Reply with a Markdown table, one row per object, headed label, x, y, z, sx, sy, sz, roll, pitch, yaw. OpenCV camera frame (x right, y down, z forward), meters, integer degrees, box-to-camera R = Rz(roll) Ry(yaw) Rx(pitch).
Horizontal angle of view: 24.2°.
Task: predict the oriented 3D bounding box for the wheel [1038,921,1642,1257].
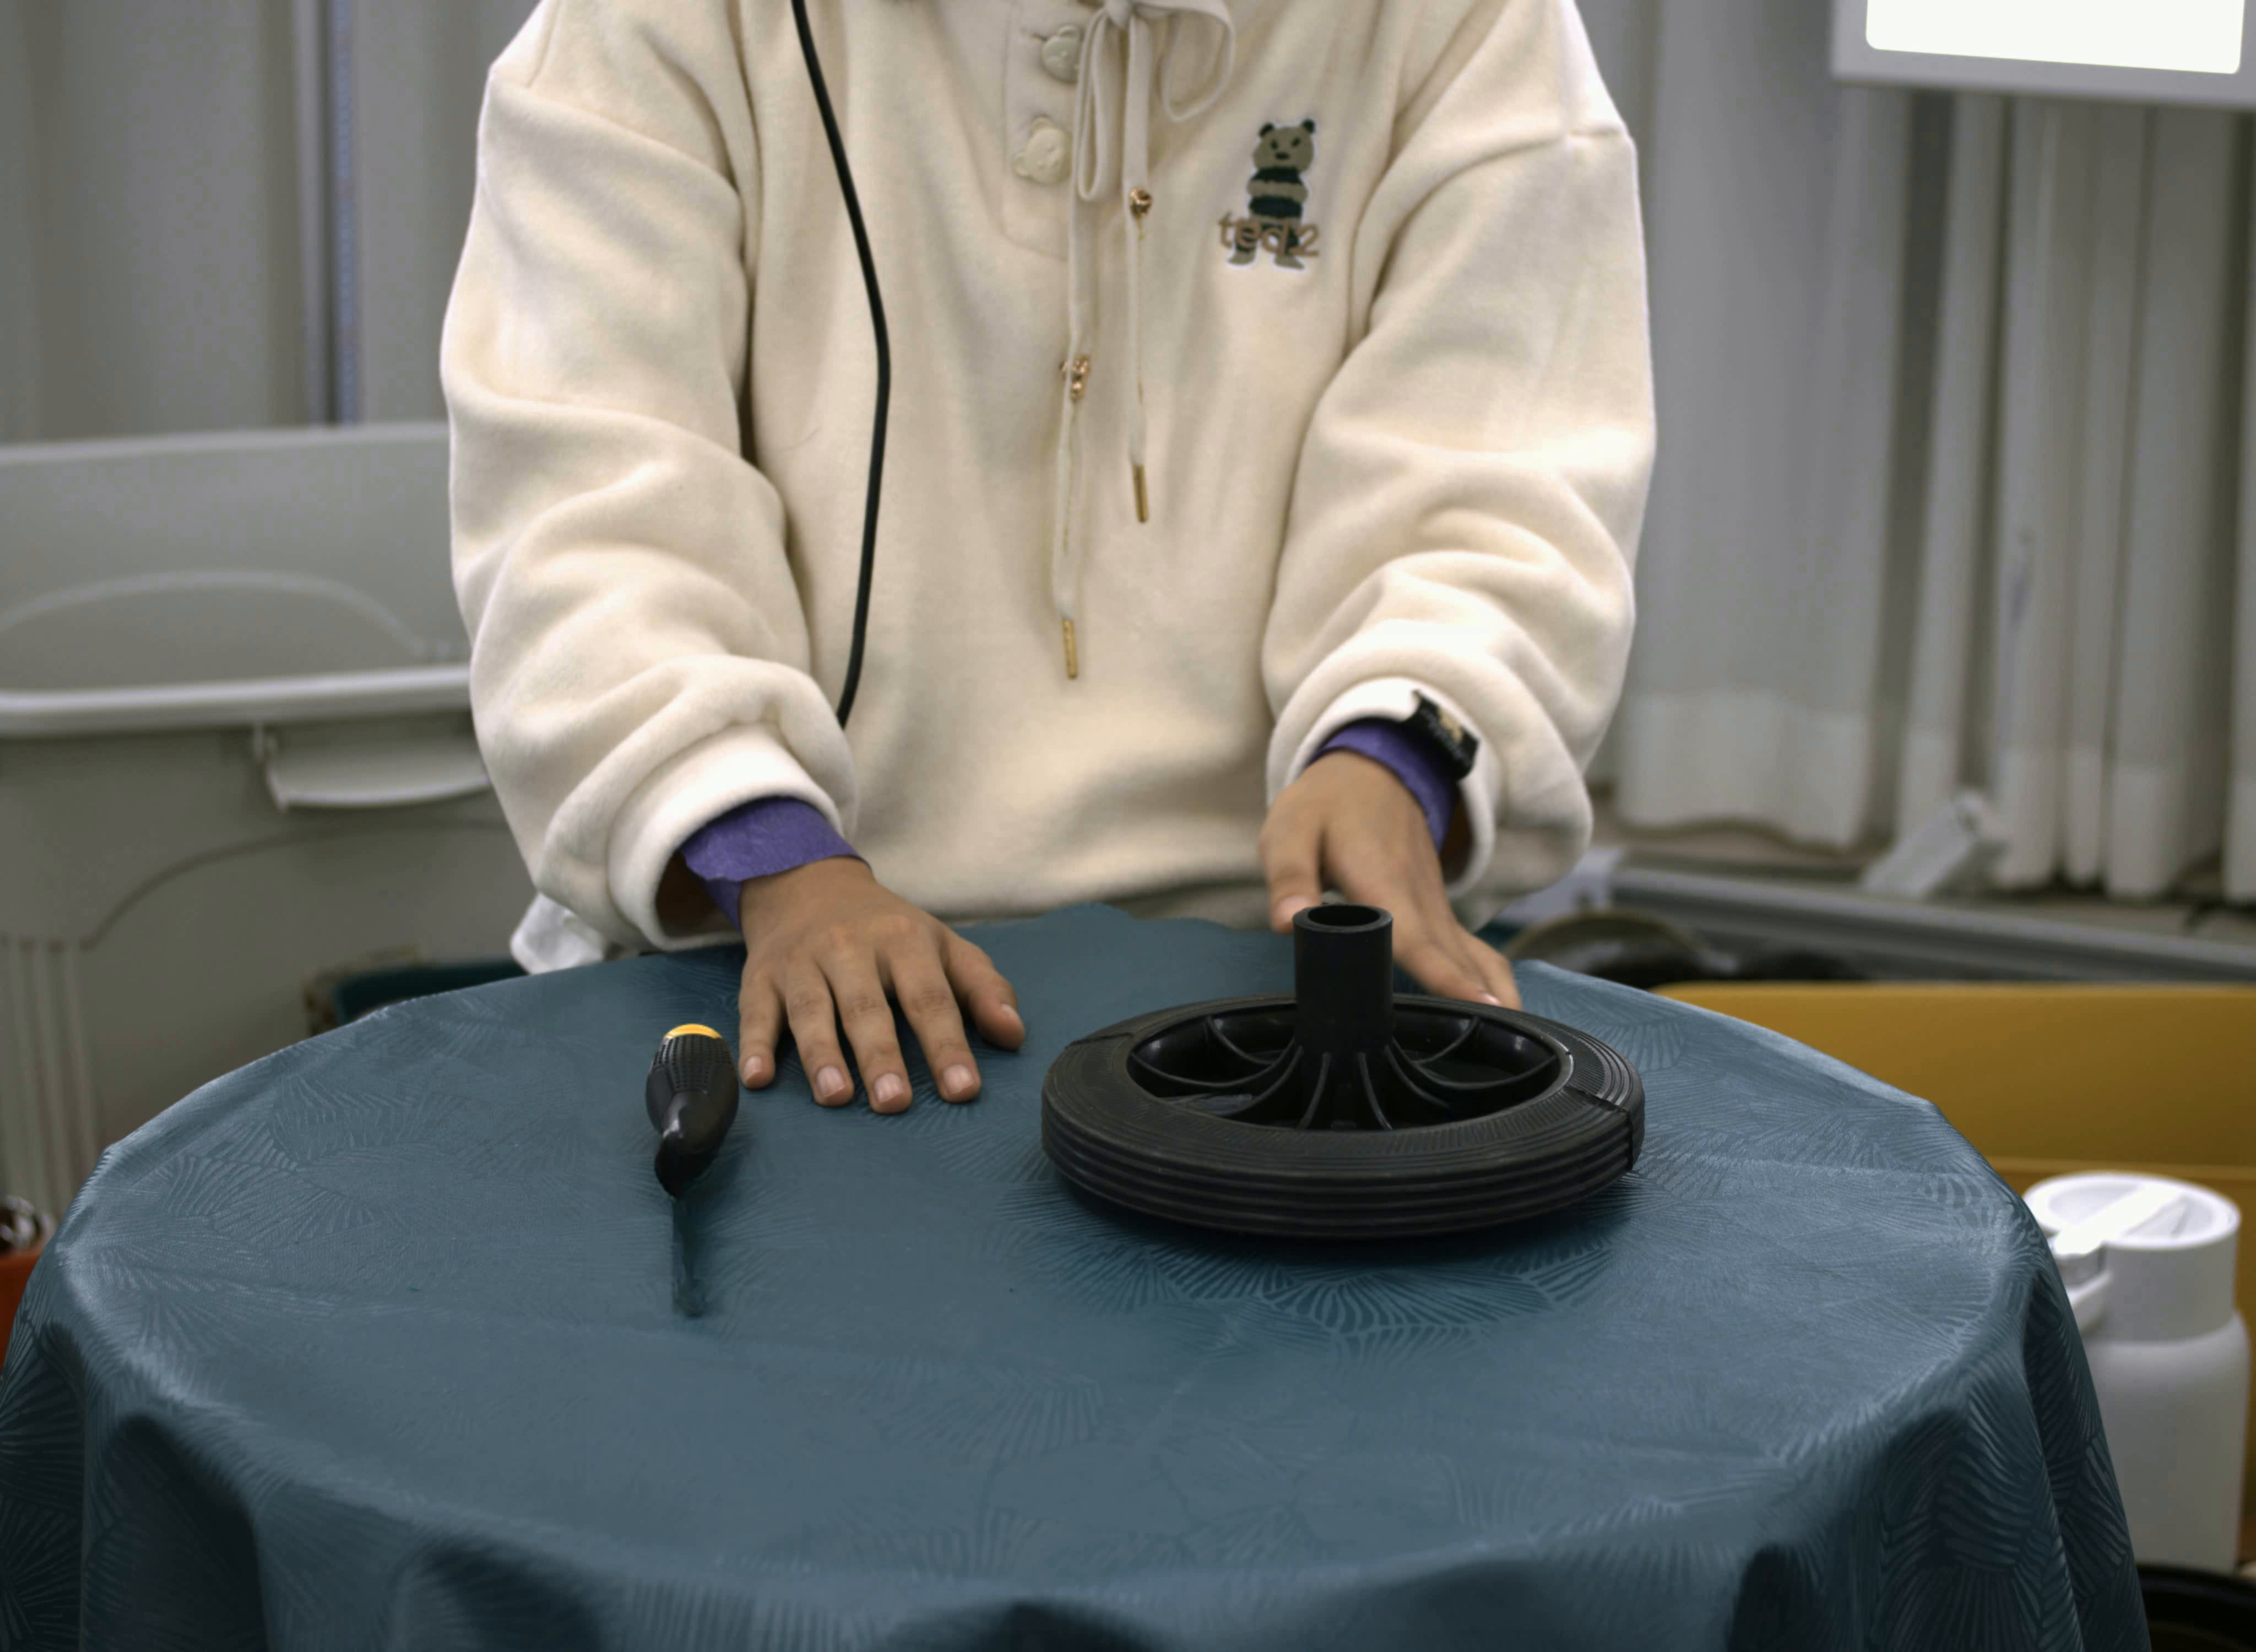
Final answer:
| label | x | y | z | sx | sy | sz | roll | pitch | yaw |
| --- | --- | --- | --- | --- | --- | --- | --- | --- | --- |
| wheel | 0.065 | 0.072 | 1.631 | 0.190 | 0.080 | 0.185 | -13 | 20 | -30 |

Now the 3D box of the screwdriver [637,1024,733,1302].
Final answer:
| label | x | y | z | sx | sy | sz | roll | pitch | yaw |
| --- | --- | --- | --- | --- | --- | --- | --- | --- | --- |
| screwdriver | -0.138 | 0.104 | 1.603 | 0.031 | 0.032 | 0.196 | 0 | 18 | -2 |
